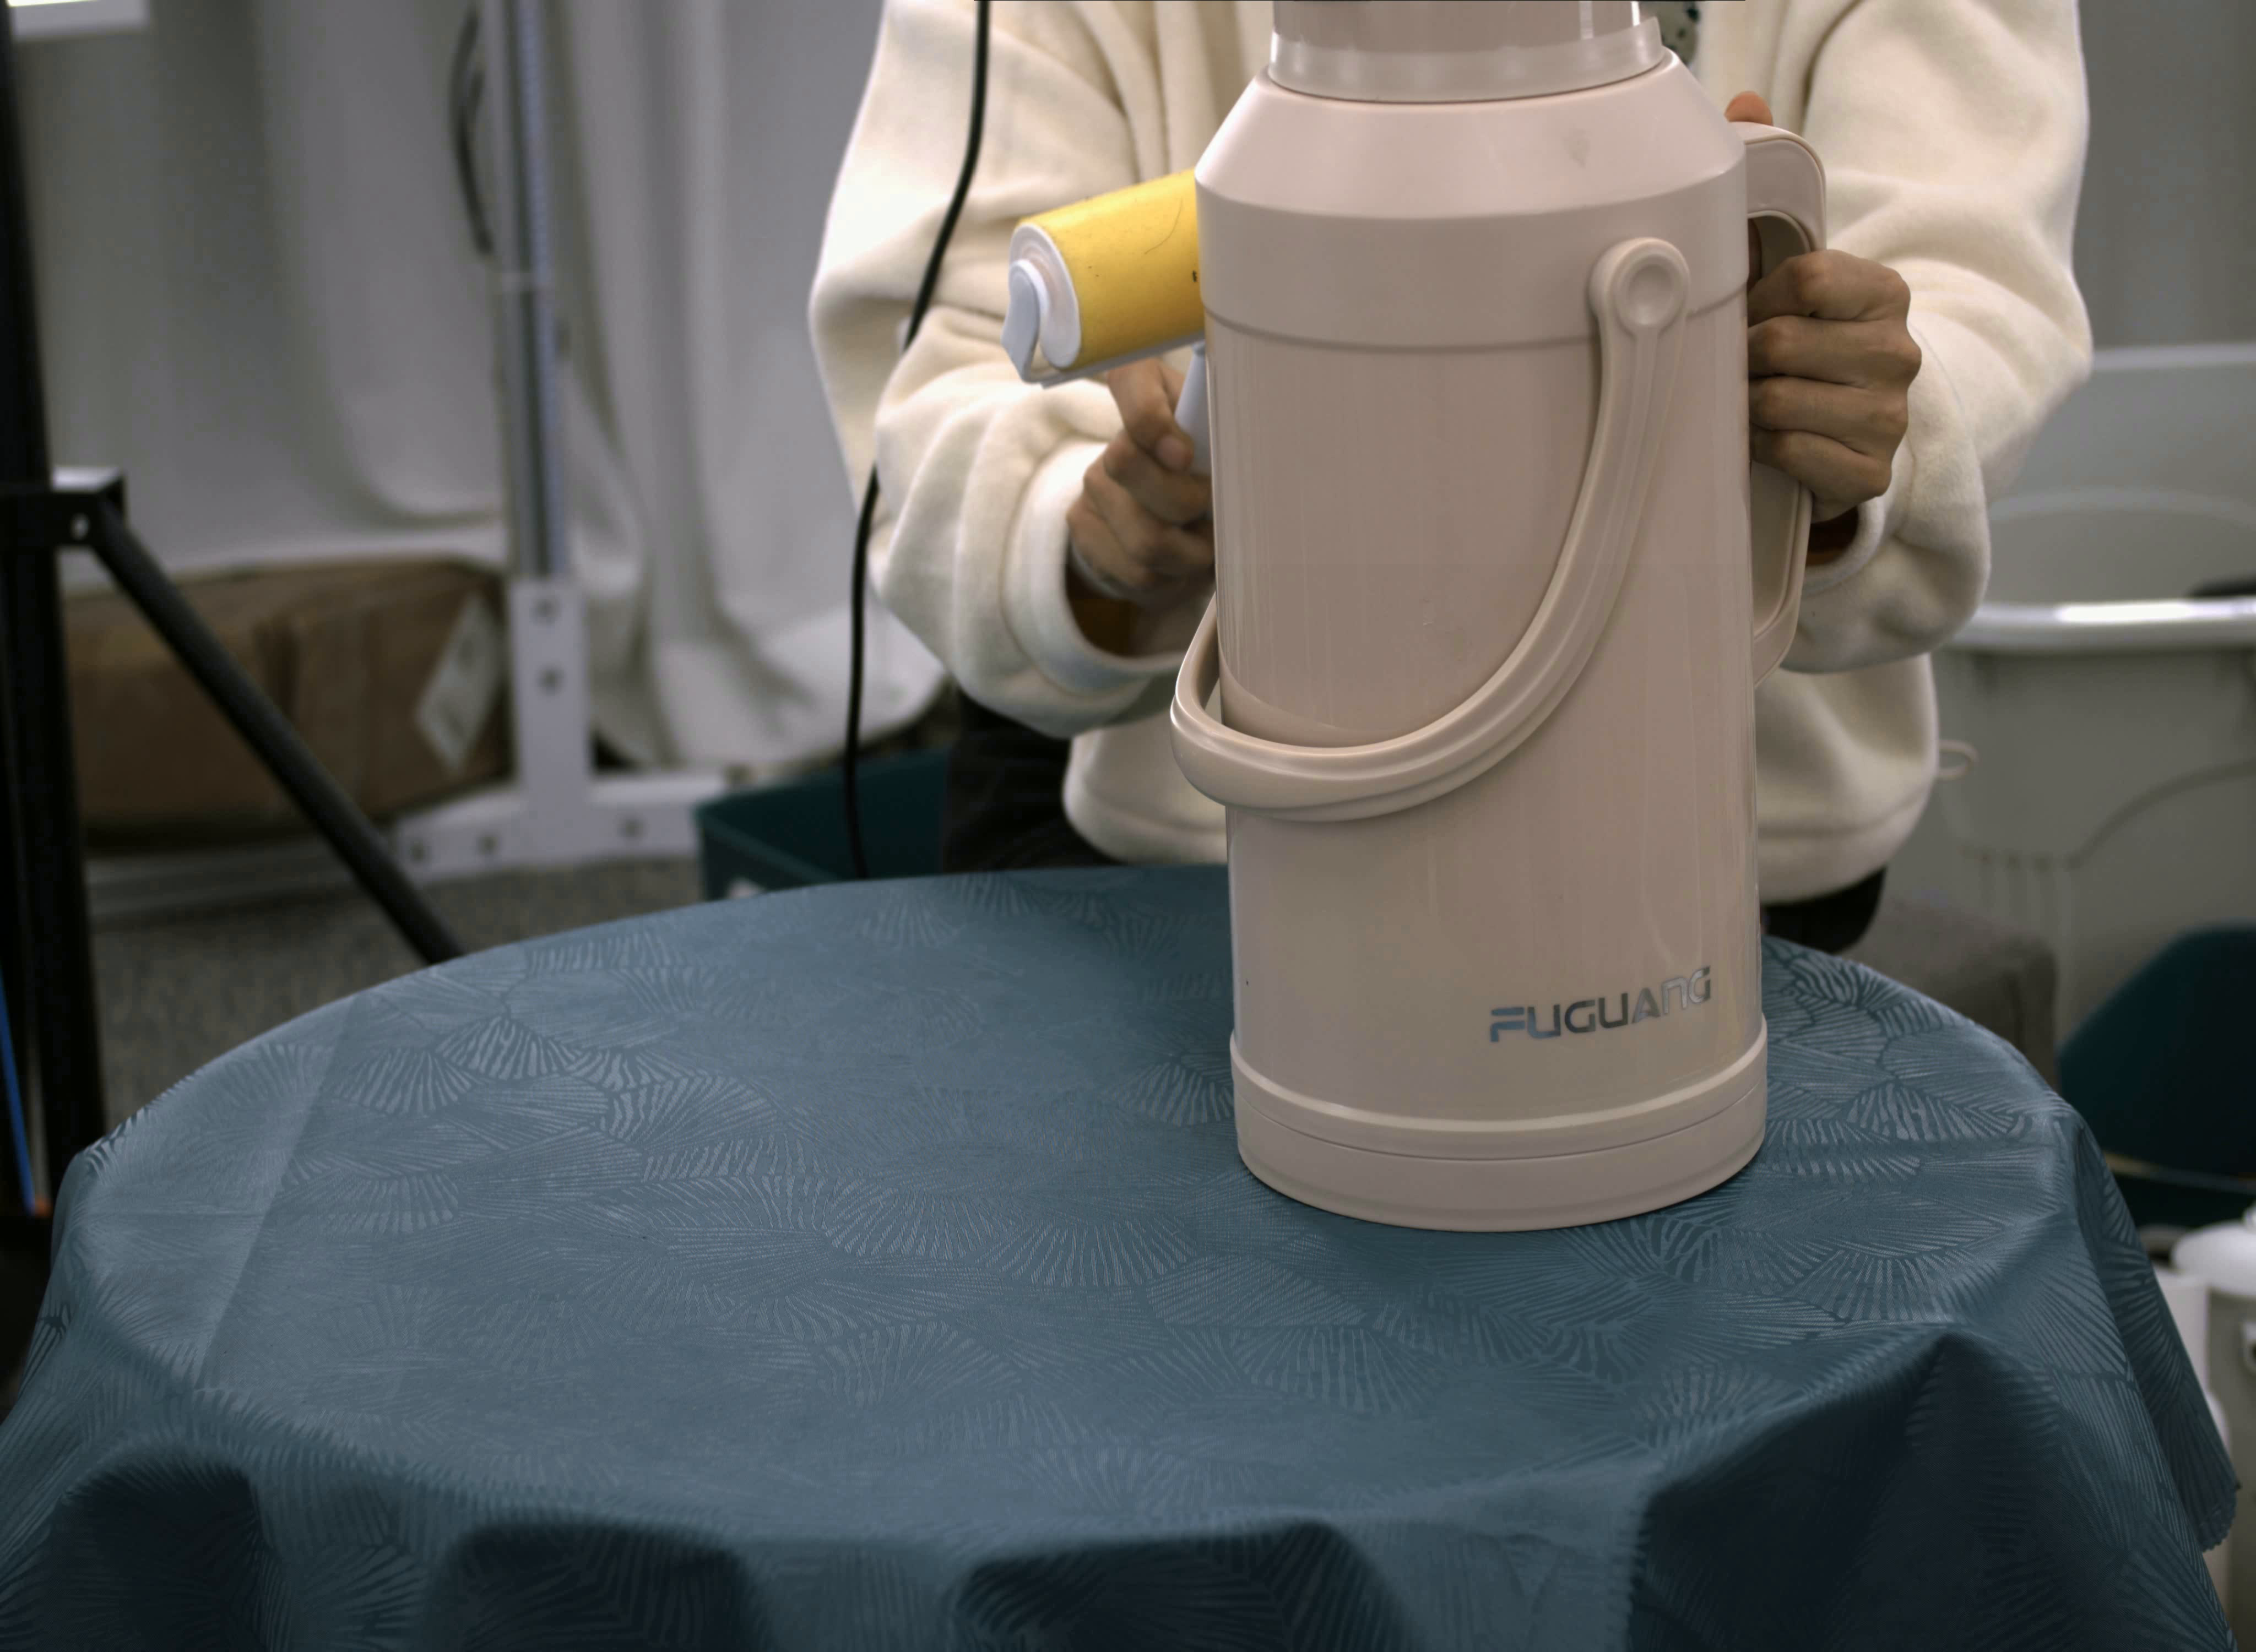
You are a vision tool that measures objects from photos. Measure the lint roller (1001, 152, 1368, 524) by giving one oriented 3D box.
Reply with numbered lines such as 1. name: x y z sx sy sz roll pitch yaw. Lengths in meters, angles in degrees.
1. lint roller: 0.026 -0.154 1.665 0.171 0.052 0.193 -17 -14 -22

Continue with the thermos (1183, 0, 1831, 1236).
1. thermos: 0.114 -0.098 1.530 0.203 0.406 0.179 -12 19 -27
